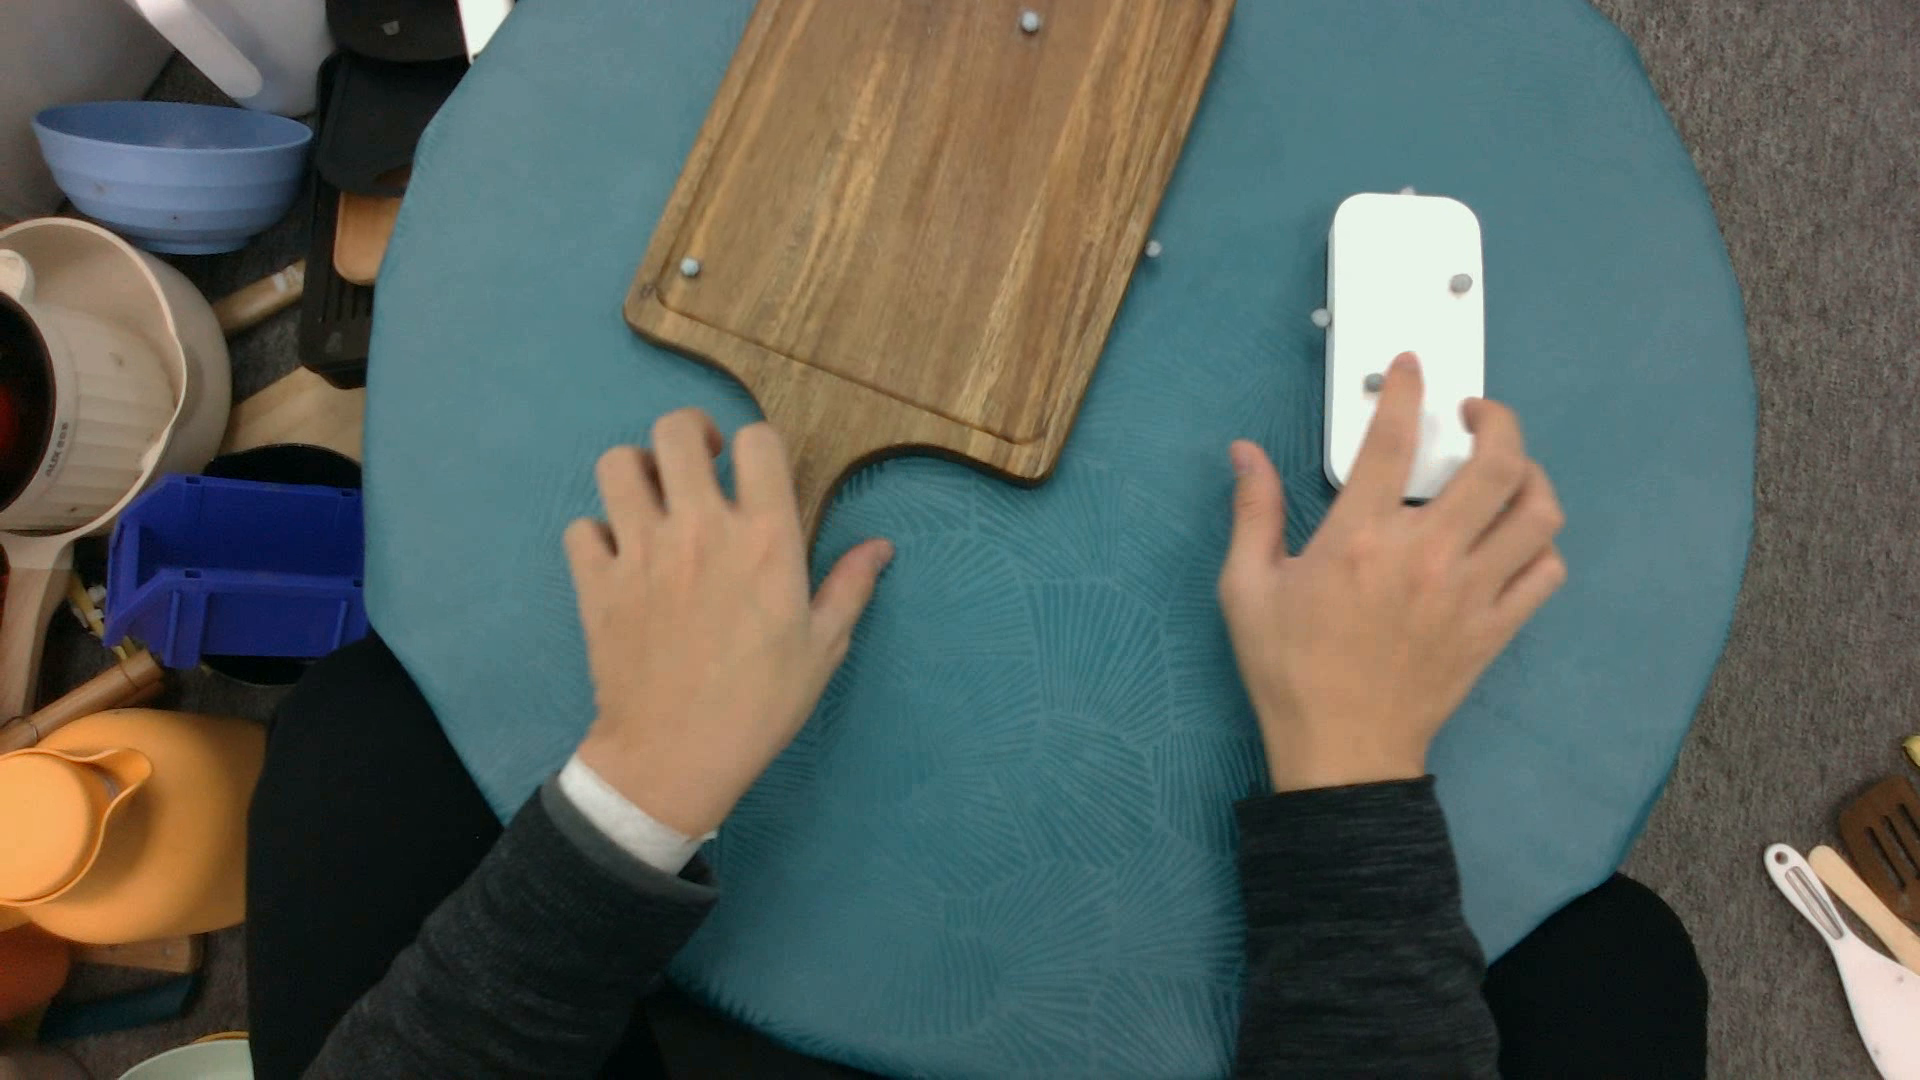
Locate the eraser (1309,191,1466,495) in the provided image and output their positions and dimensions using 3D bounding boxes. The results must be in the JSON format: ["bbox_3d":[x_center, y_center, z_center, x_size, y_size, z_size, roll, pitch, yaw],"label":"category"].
[{"bbox_3d":[0.179,-0.084,0.586,0.063,0.034,0.131,5,78,-1],"label":"eraser"}]

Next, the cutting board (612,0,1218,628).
[{"bbox_3d":[-0.032,-0.129,0.595,0.201,0.023,0.353,21,80,2],"label":"cutting board"}]
